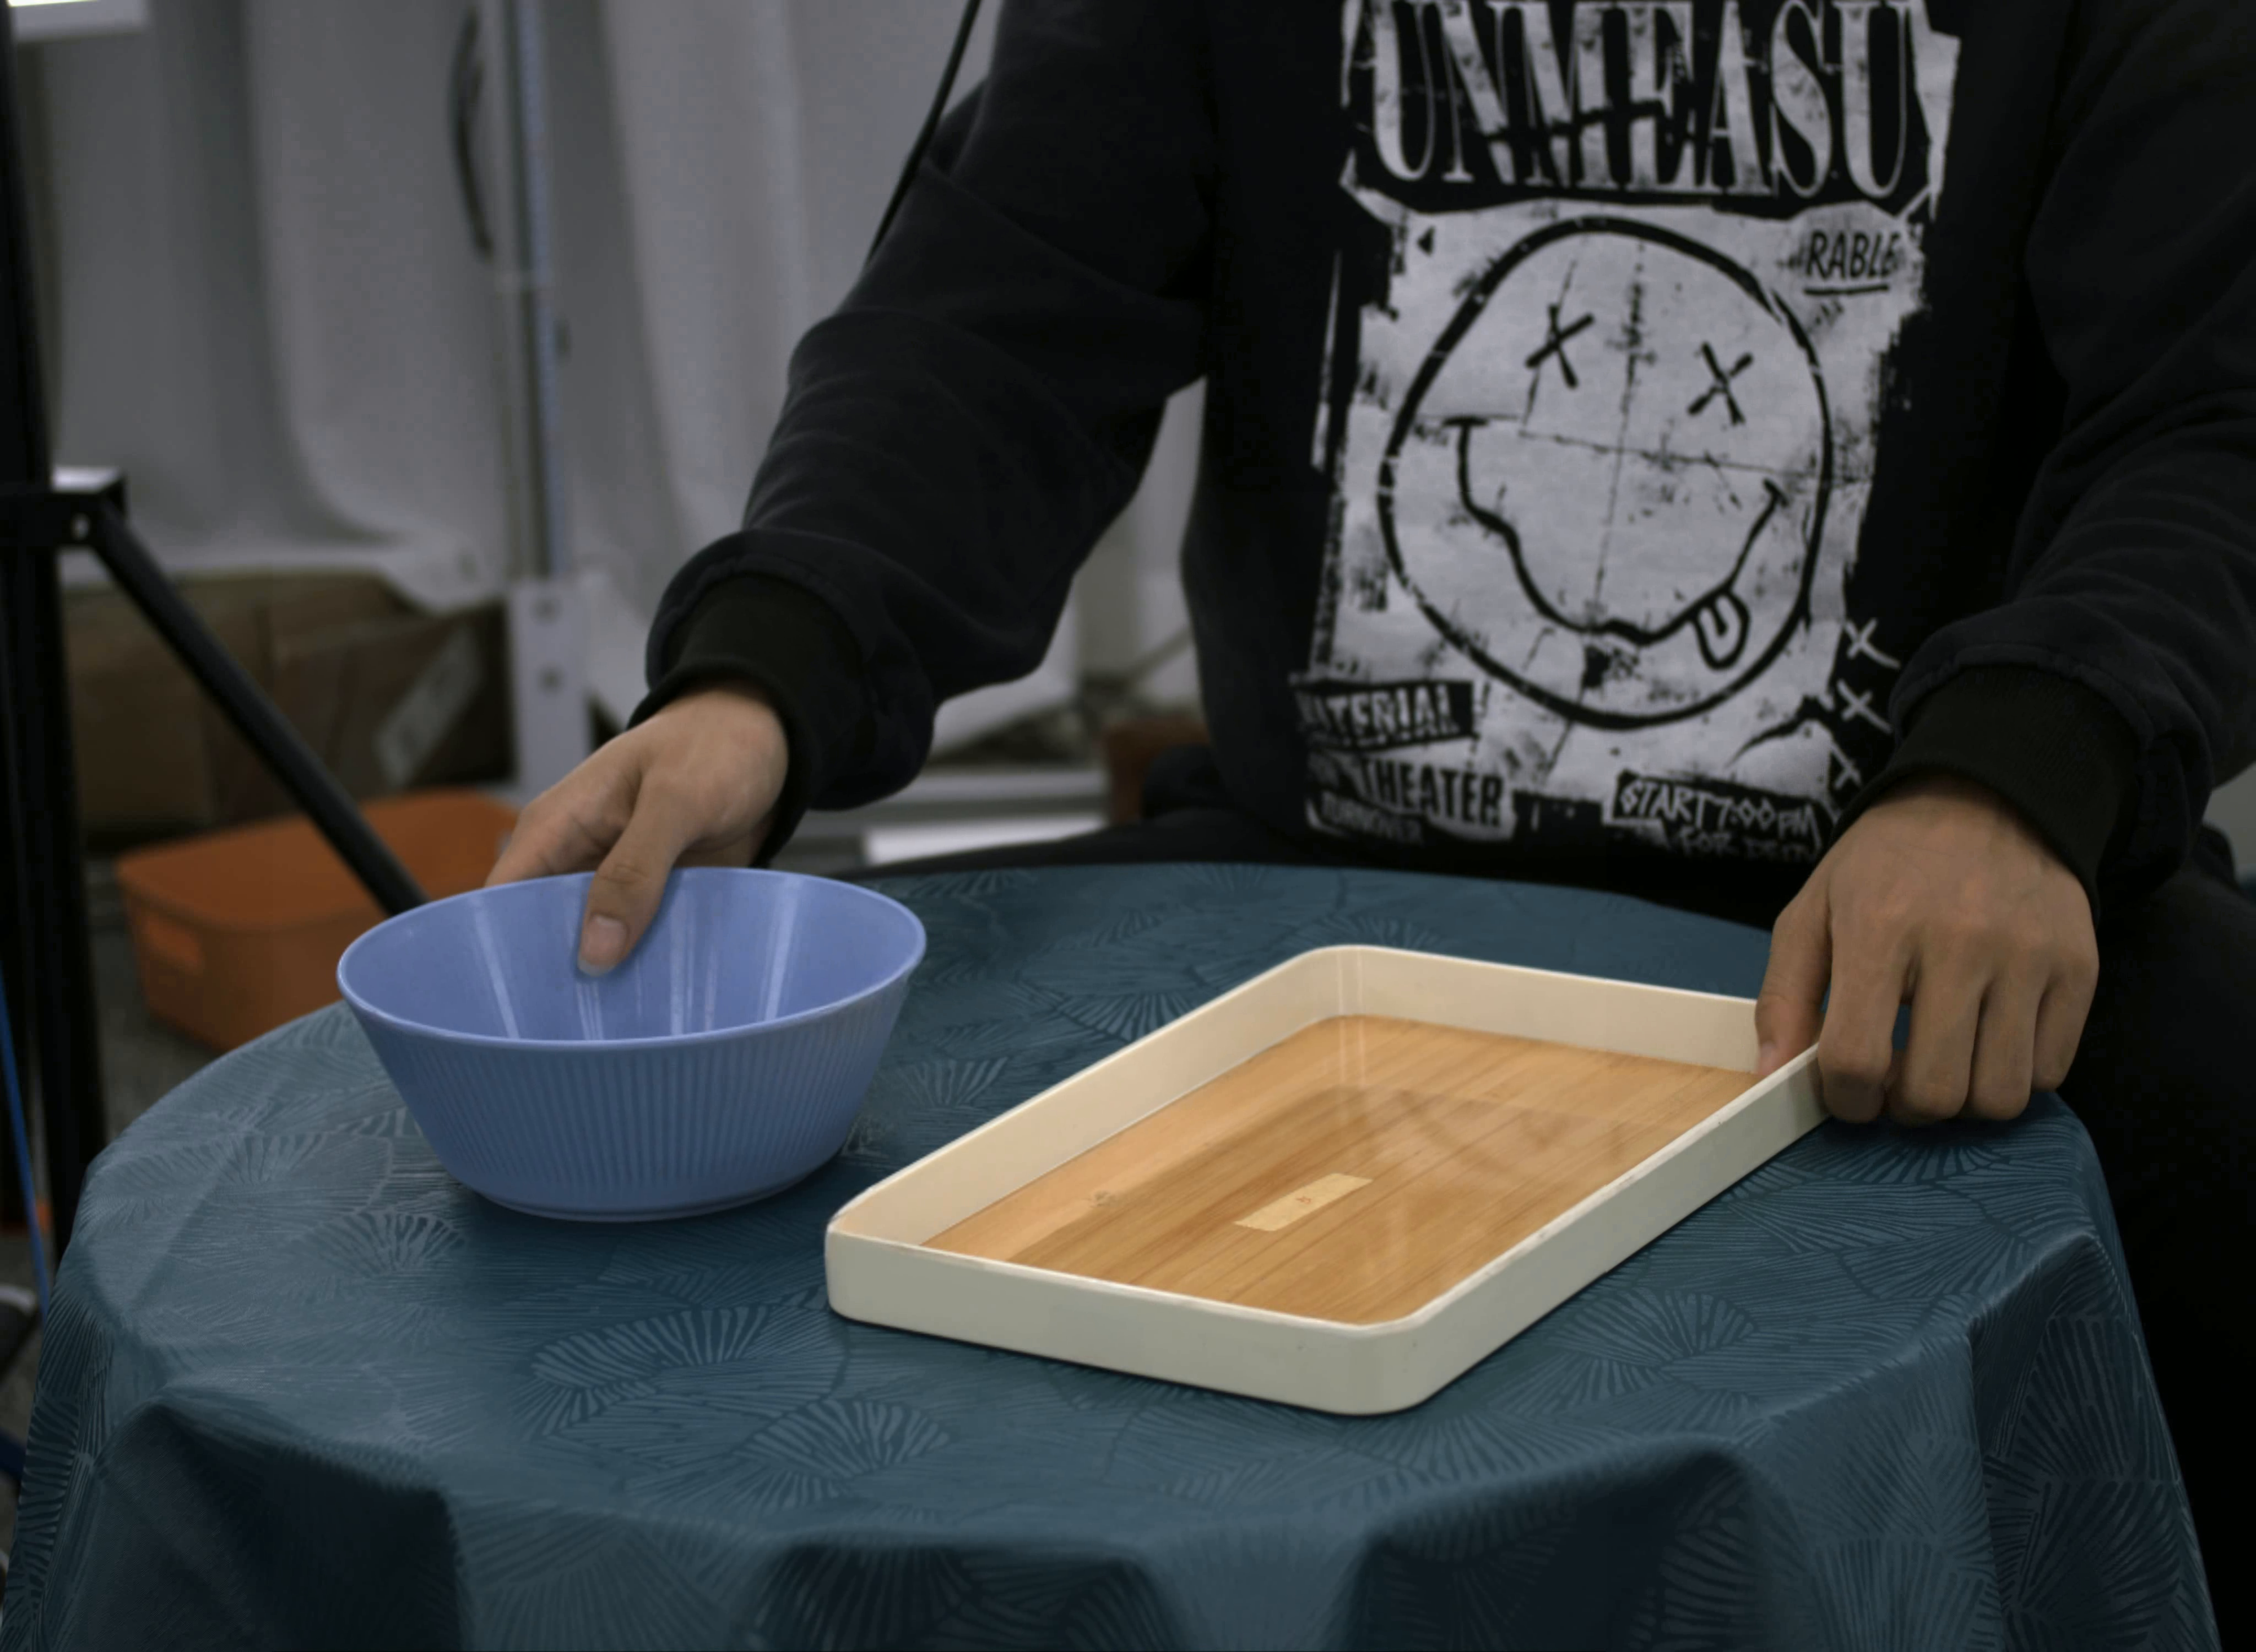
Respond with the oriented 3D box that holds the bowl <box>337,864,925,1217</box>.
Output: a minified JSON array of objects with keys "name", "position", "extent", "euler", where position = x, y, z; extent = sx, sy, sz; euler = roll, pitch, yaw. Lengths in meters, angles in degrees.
[{"name":"bowl","position":[-0.147,0.067,1.598],"extent":[0.175,0.070,0.177],"euler":[-2,16,-1]}]

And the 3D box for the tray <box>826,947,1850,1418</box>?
[{"name":"tray","position":[0.068,0.097,1.536],"extent":[0.195,0.027,0.294],"euler":[7,19,32]}]
